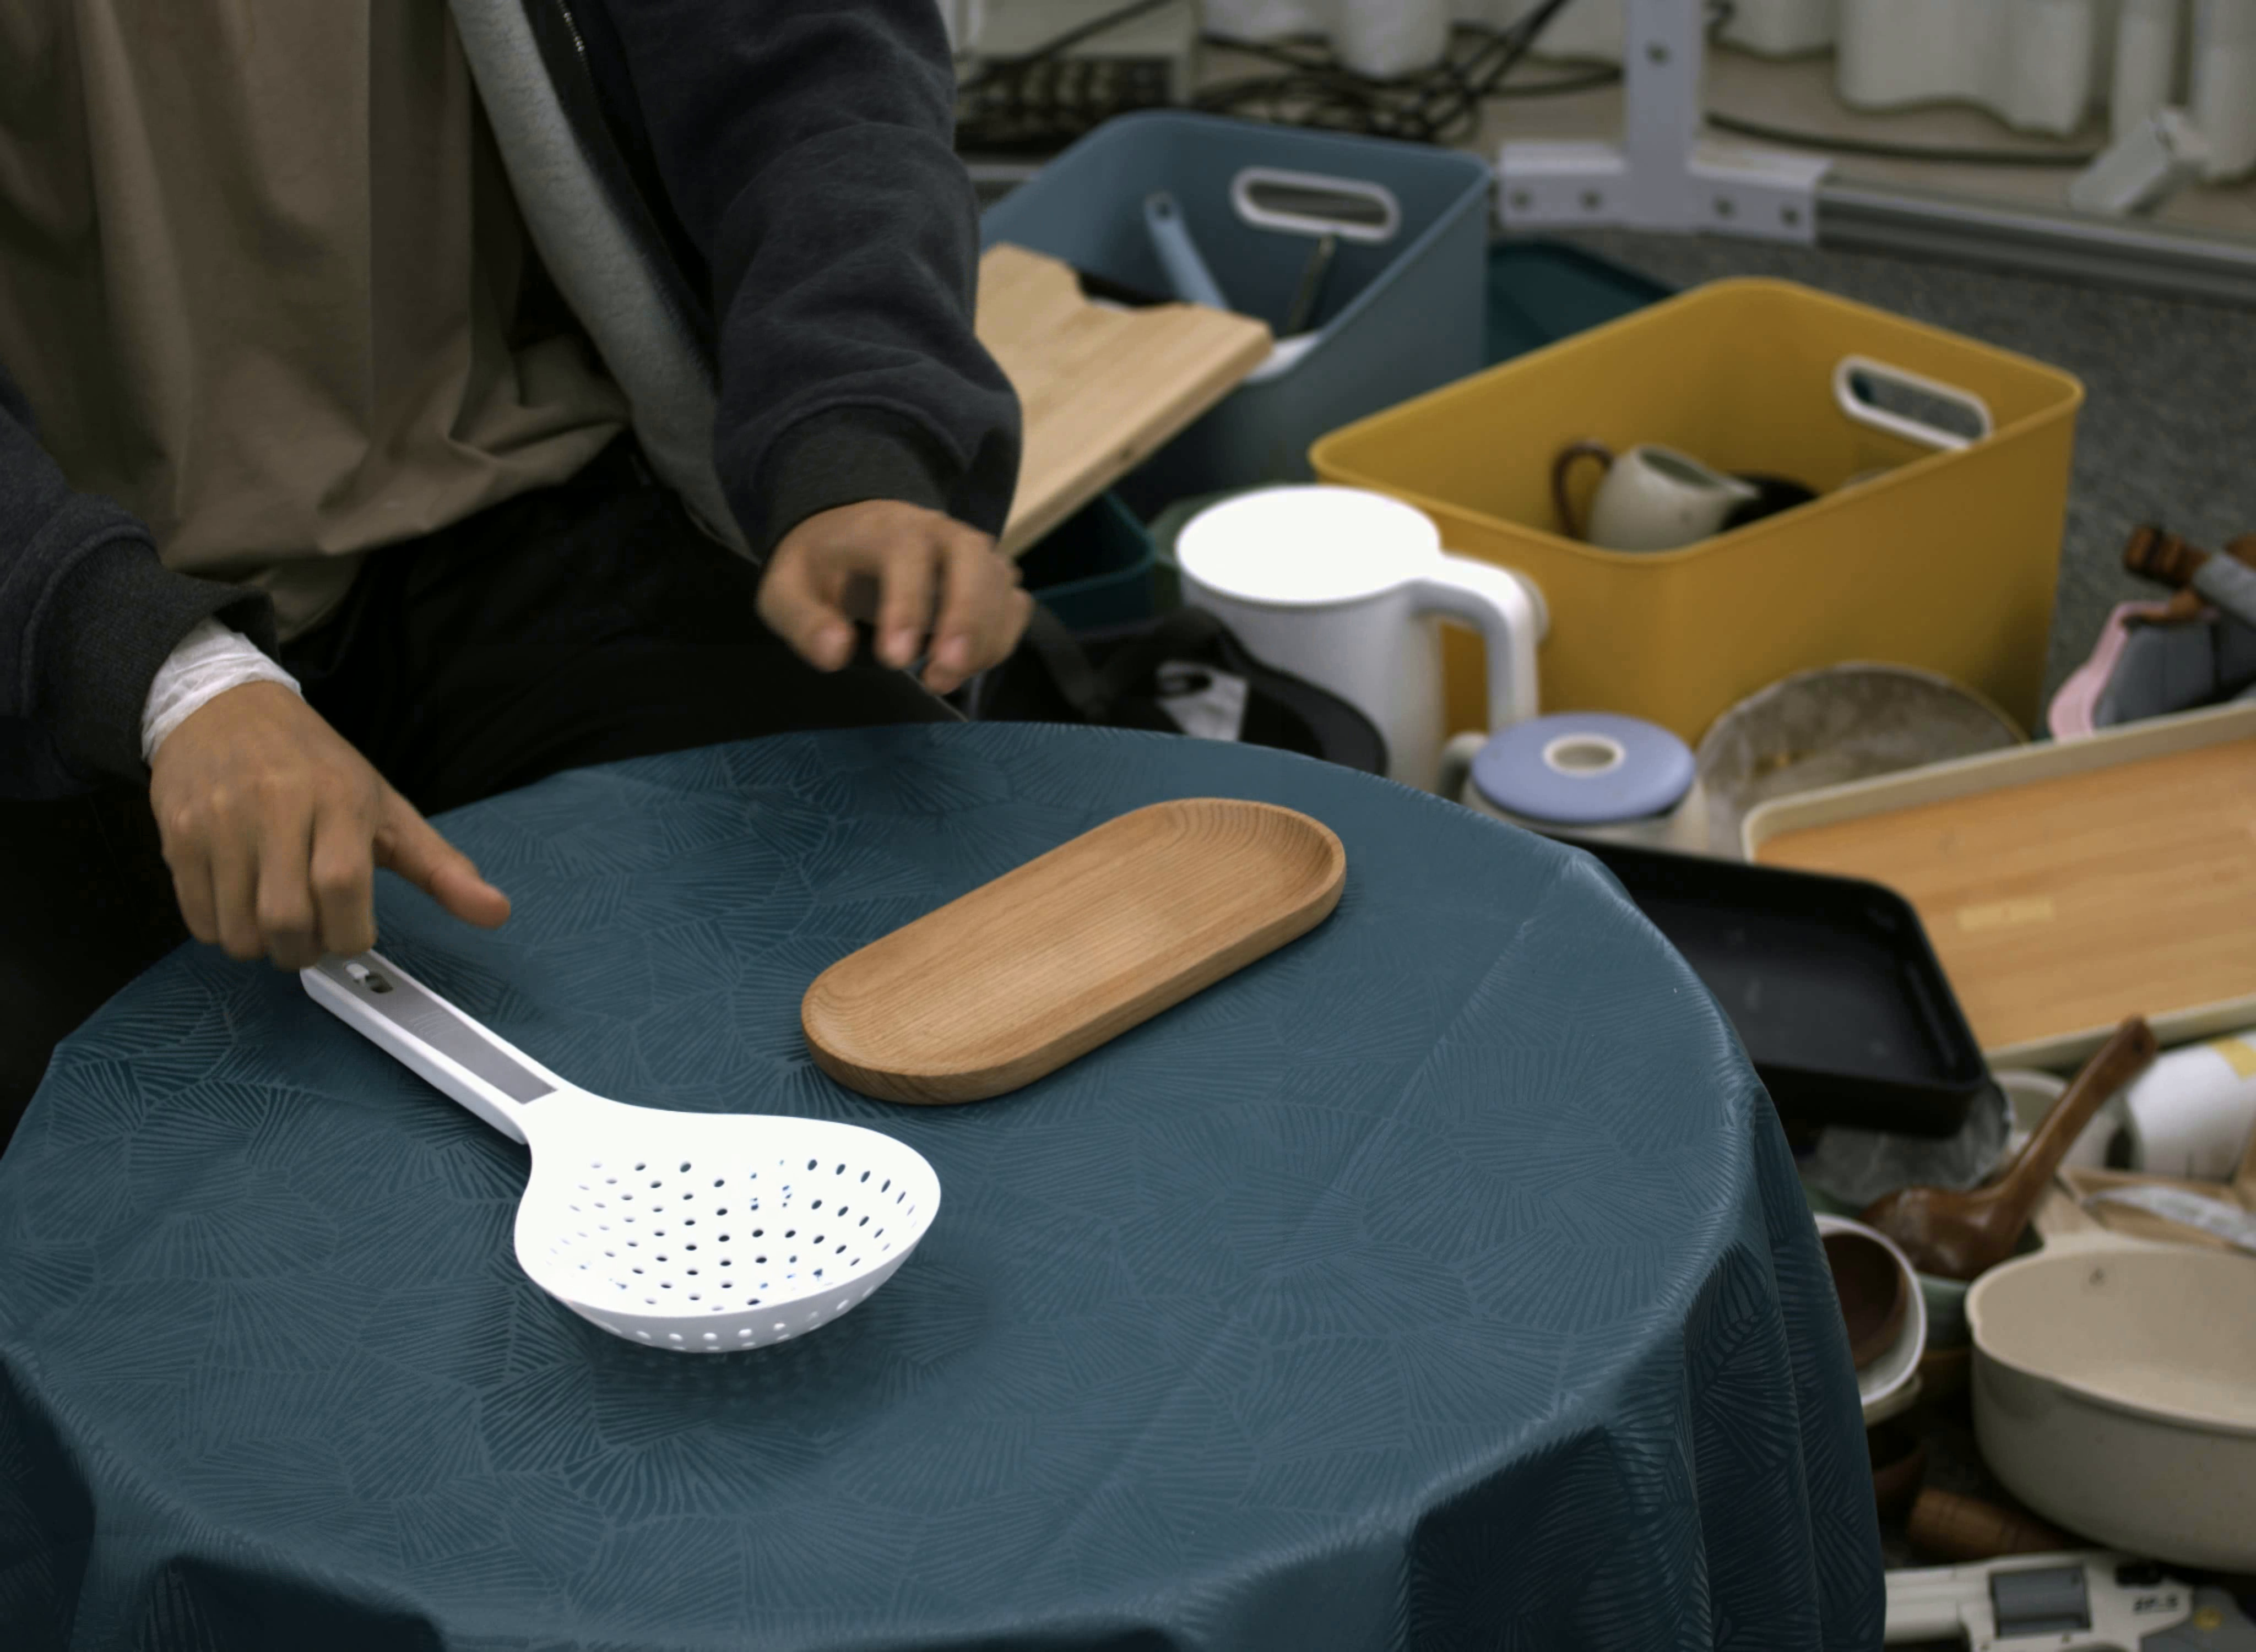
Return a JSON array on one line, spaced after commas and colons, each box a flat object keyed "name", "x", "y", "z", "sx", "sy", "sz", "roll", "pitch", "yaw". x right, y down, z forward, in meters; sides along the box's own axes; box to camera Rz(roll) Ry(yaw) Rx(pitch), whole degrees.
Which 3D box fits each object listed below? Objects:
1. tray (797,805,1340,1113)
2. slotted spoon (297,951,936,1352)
[{"name": "tray", "x": -0.019, "y": 0.046, "z": 1.992, "sx": 0.101, "sy": 0.020, "sz": 0.234, "roll": 20, "pitch": 36, "yaw": 39}, {"name": "slotted spoon", "x": -0.189, "y": 0.101, "z": 1.871, "sx": 0.137, "sy": 0.045, "sz": 0.350, "roll": -18, "pitch": 30, "yaw": -30}]
